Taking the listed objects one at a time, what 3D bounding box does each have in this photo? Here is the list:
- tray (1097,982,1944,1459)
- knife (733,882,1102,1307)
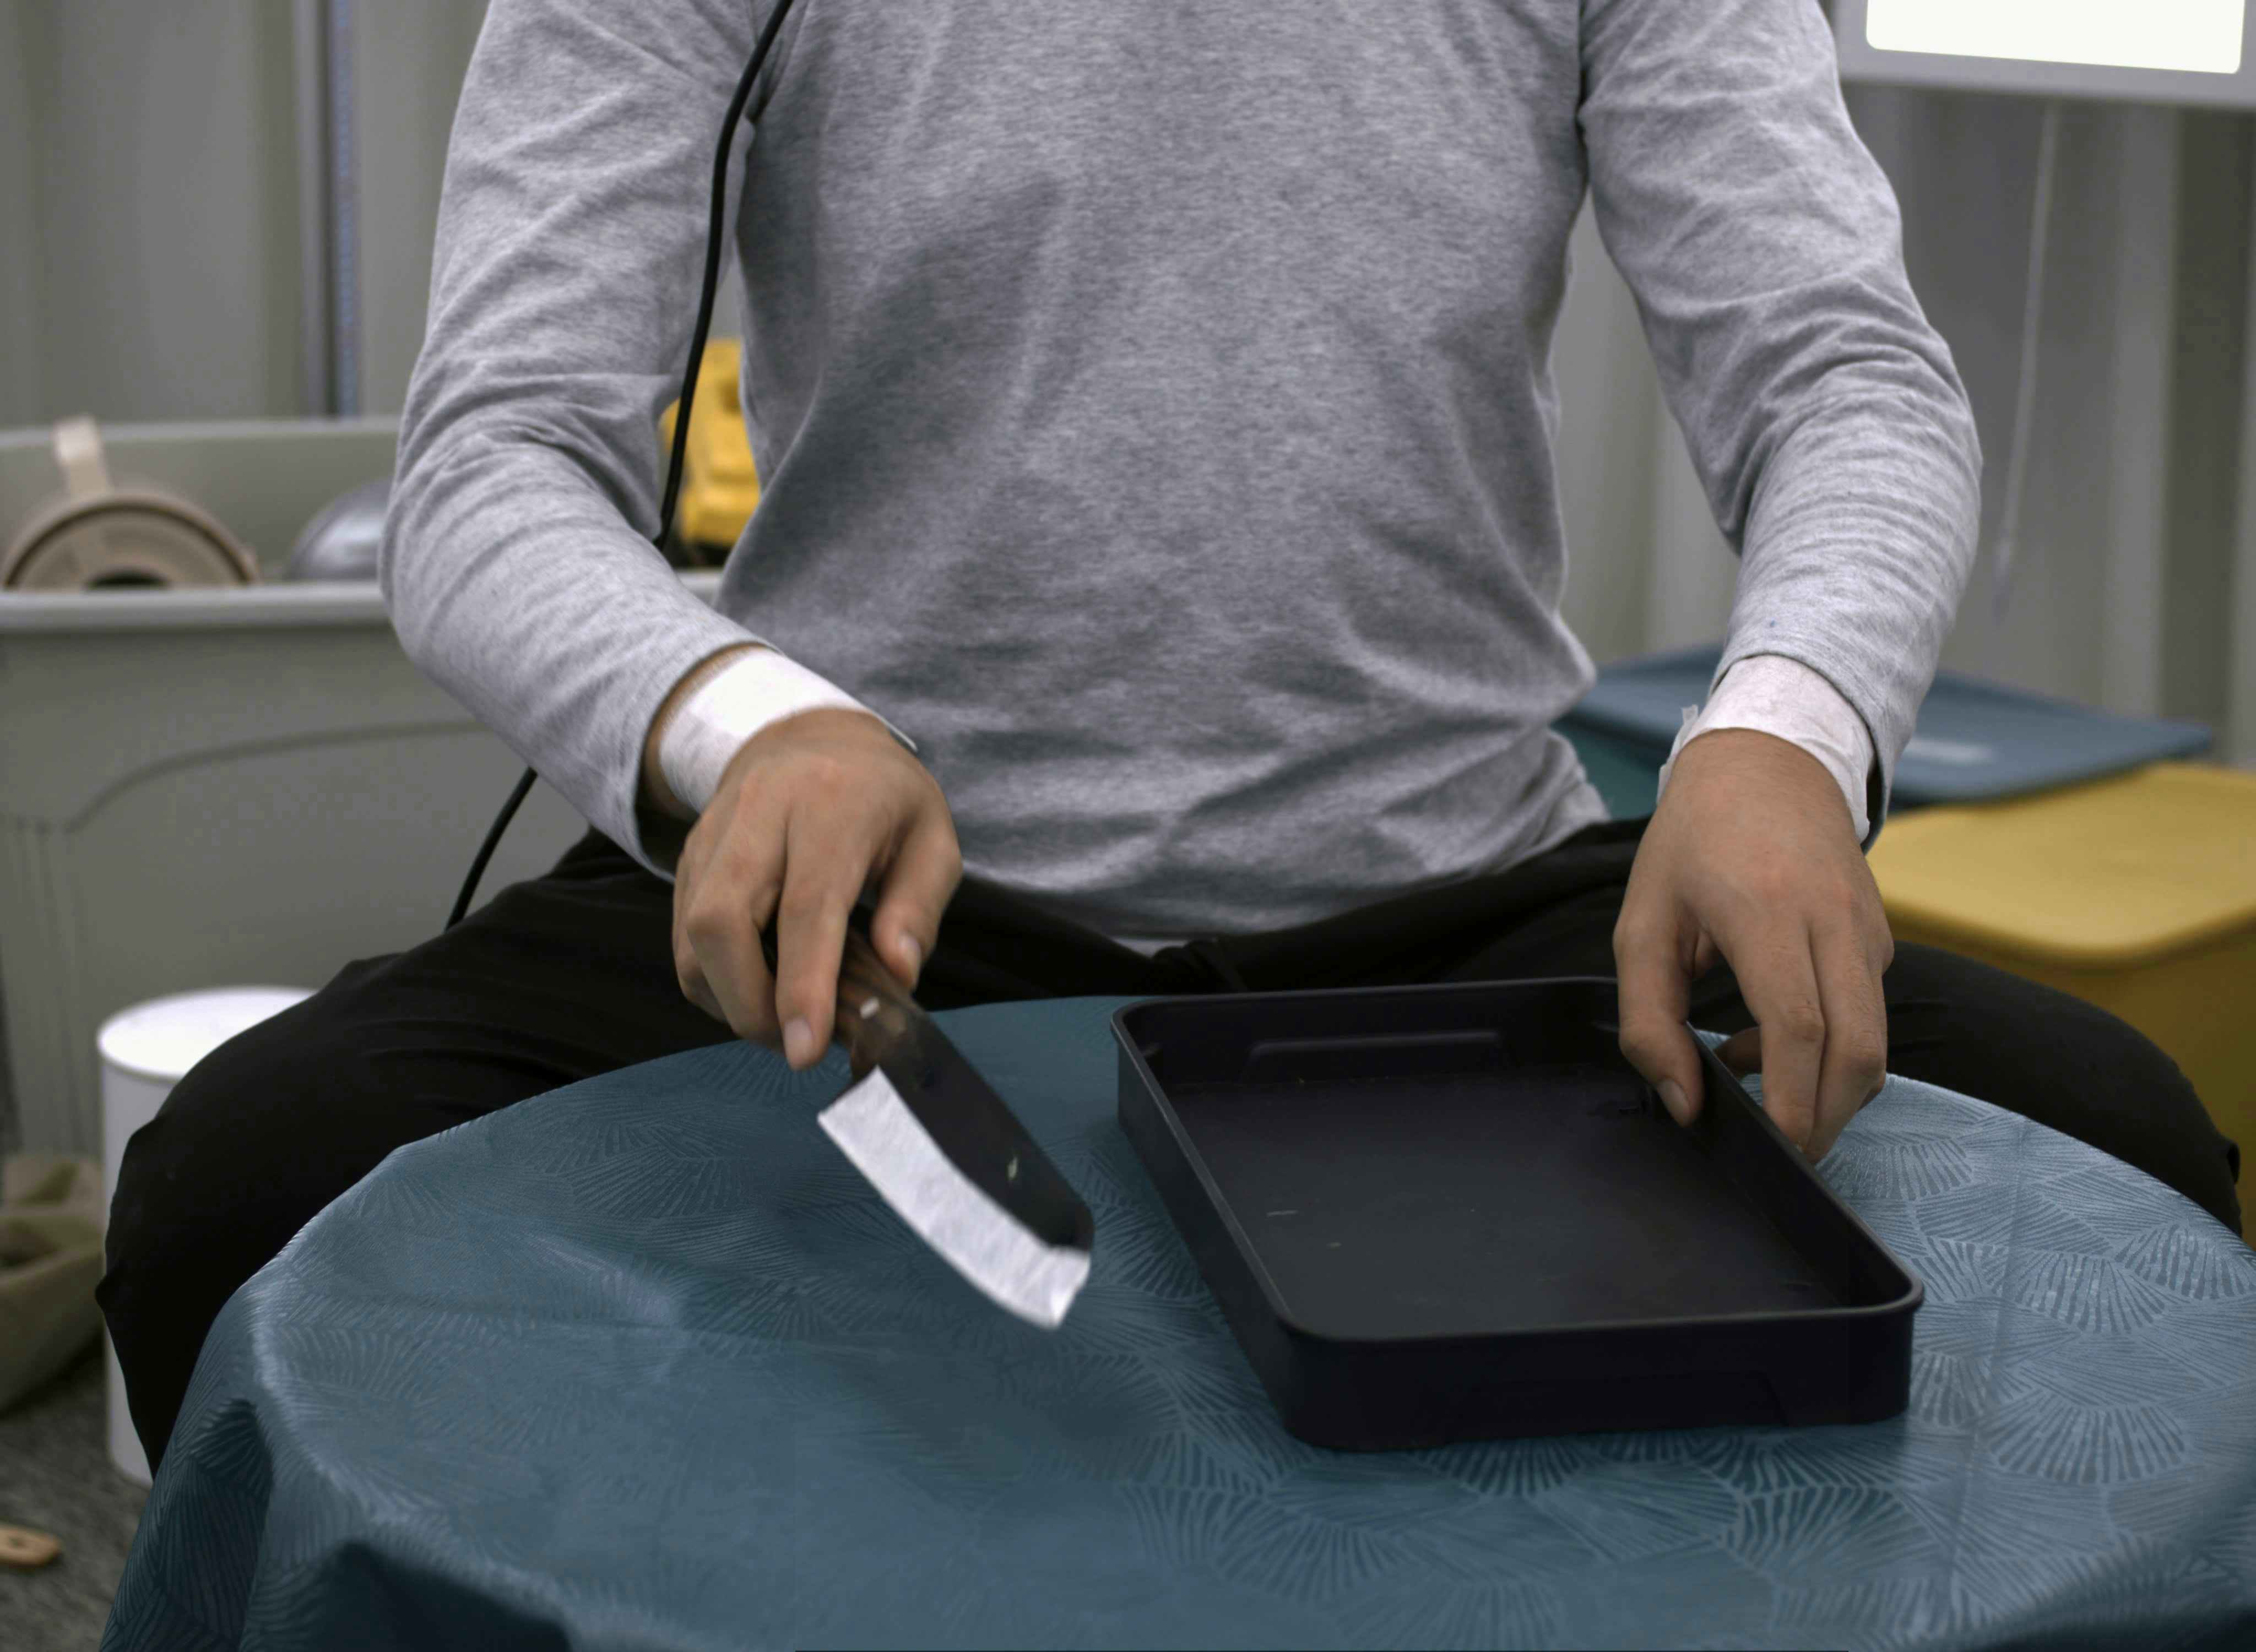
[{"bbox_3d":[0.107,0.111,1.568,0.184,0.037,0.315,-2,15,-12],"label":"tray"},{"bbox_3d":[-0.063,0.074,1.506,0.050,0.020,0.285,-38,29,-4],"label":"knife"}]
